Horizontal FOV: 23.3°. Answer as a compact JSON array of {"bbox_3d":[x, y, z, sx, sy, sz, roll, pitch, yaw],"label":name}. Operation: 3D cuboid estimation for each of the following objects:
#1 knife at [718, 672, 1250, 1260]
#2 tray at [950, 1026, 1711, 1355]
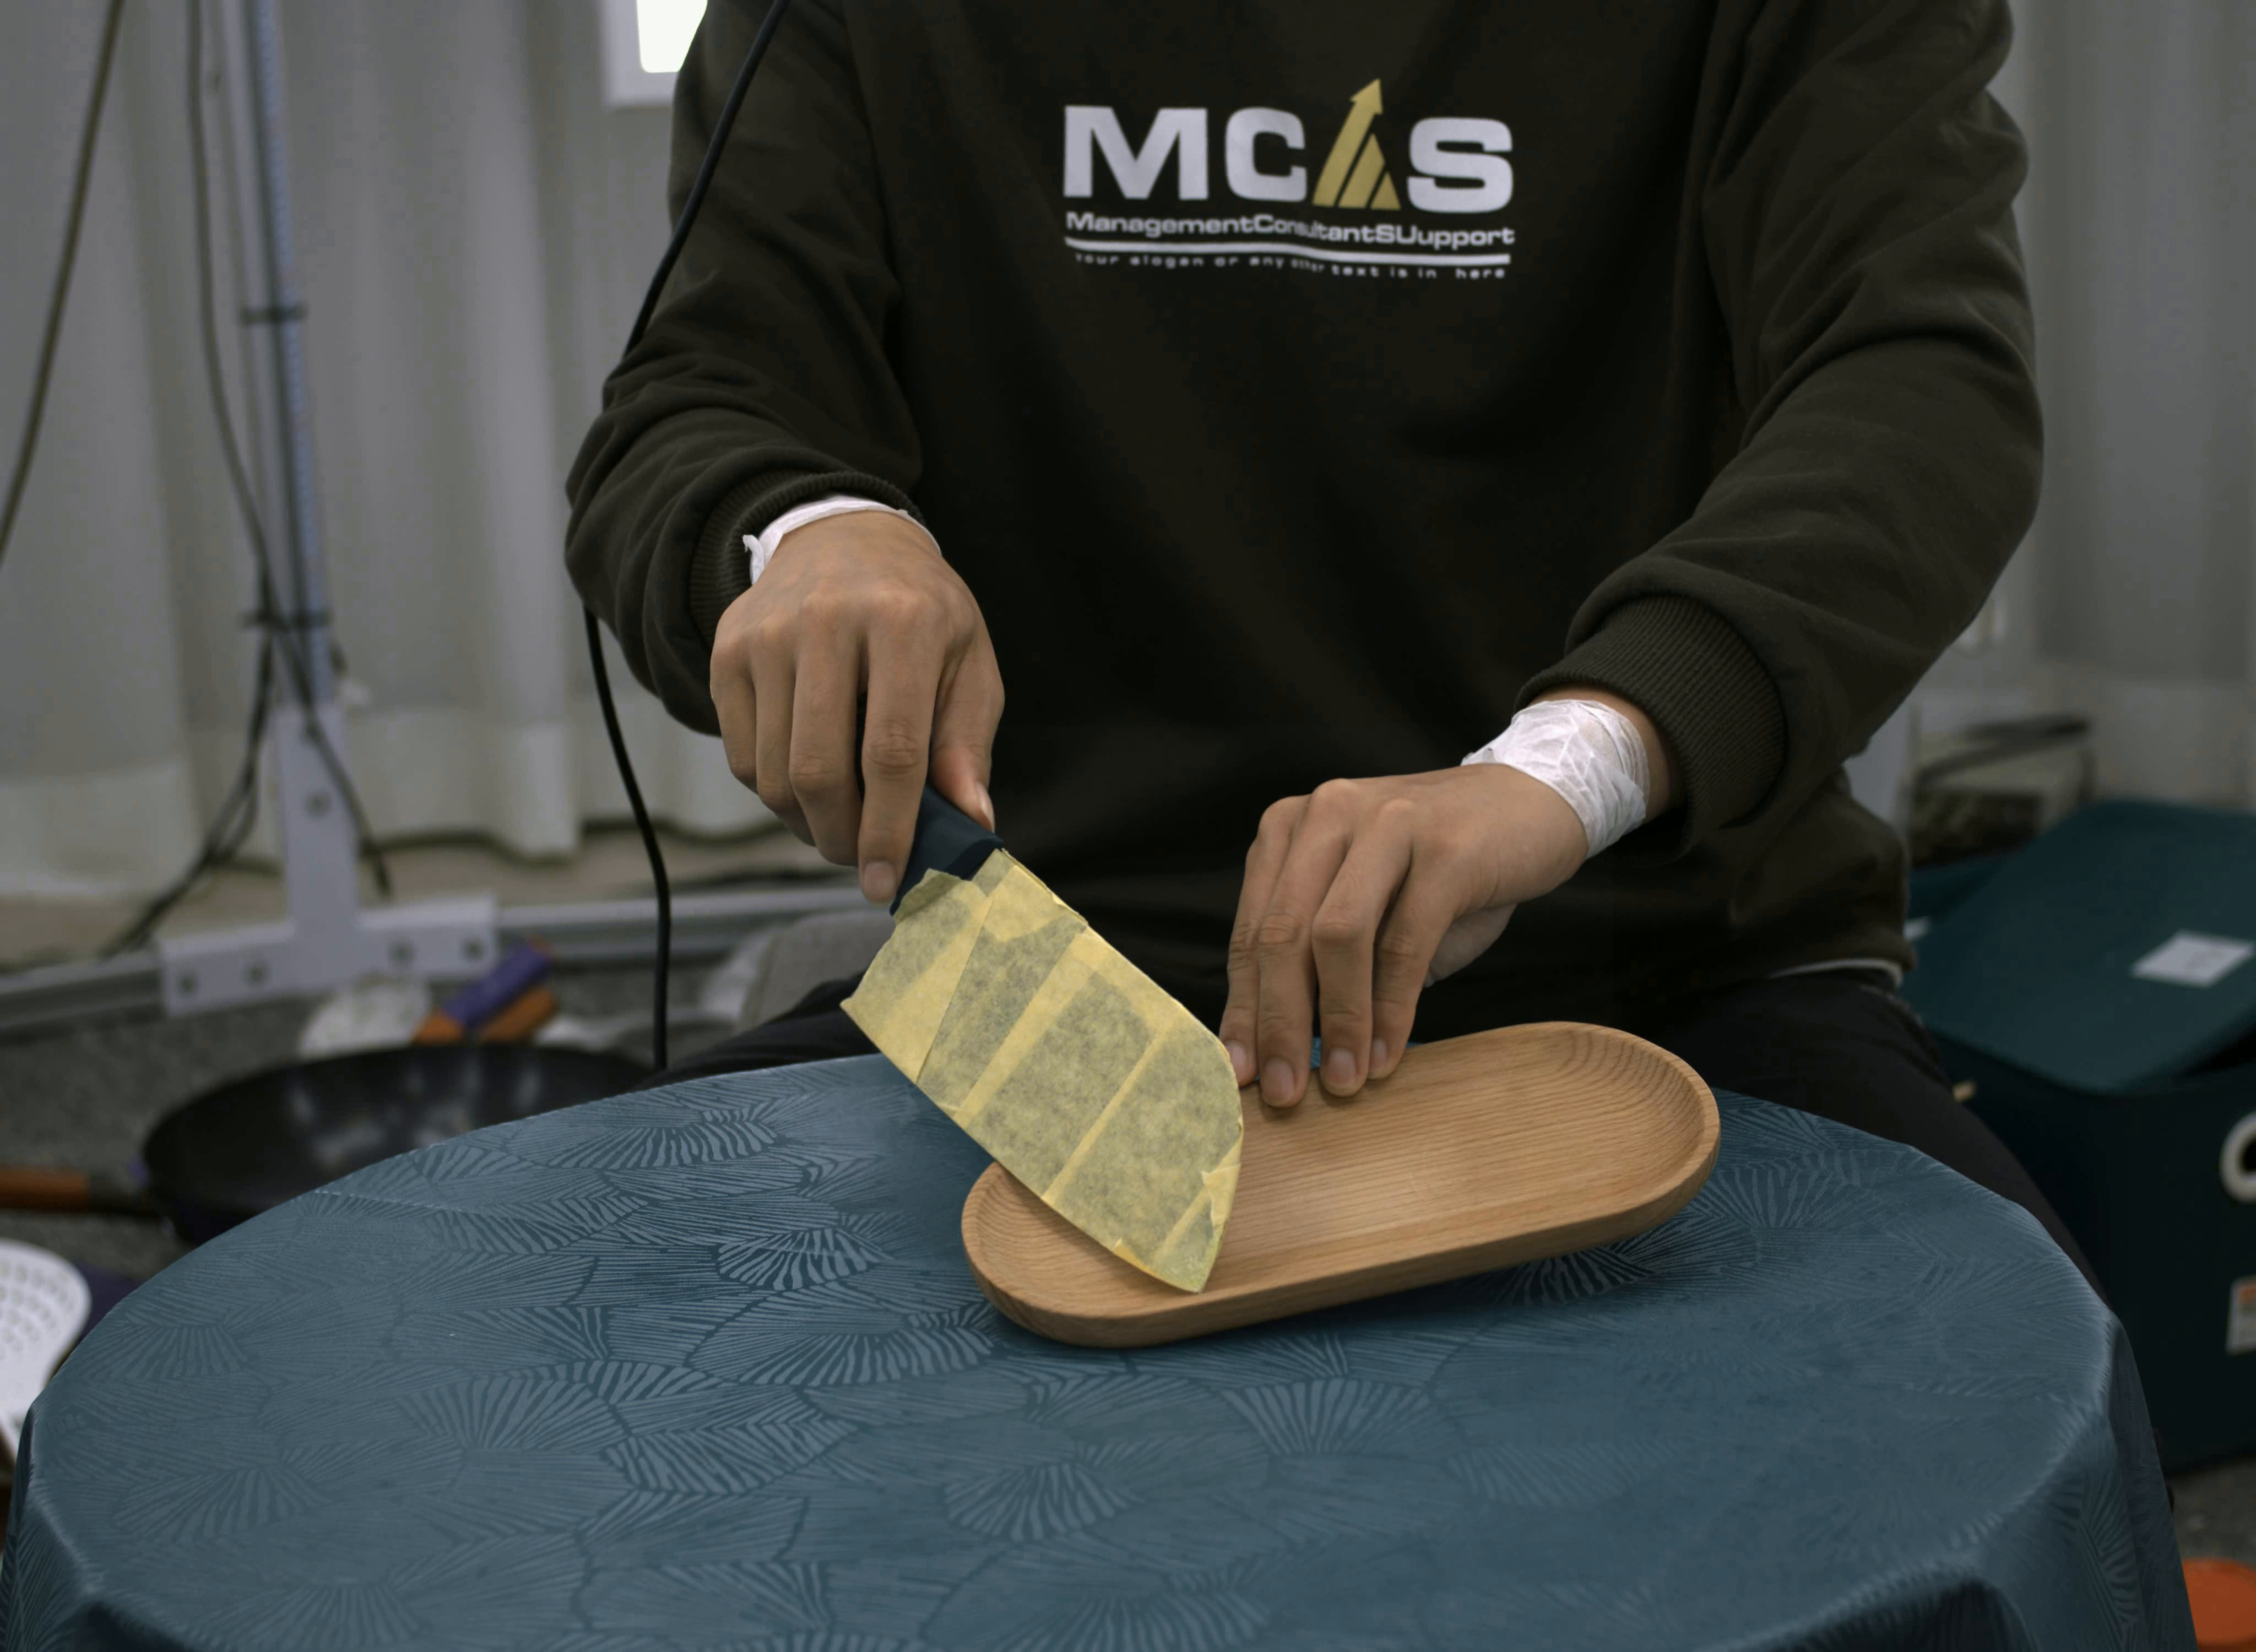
[{"bbox_3d":[-0.052,0.040,1.673,0.027,0.081,0.293,33,8,-49],"label":"knife"},{"bbox_3d":[0.061,0.108,1.626,0.230,0.020,0.103,-13,32,-9],"label":"tray"}]
